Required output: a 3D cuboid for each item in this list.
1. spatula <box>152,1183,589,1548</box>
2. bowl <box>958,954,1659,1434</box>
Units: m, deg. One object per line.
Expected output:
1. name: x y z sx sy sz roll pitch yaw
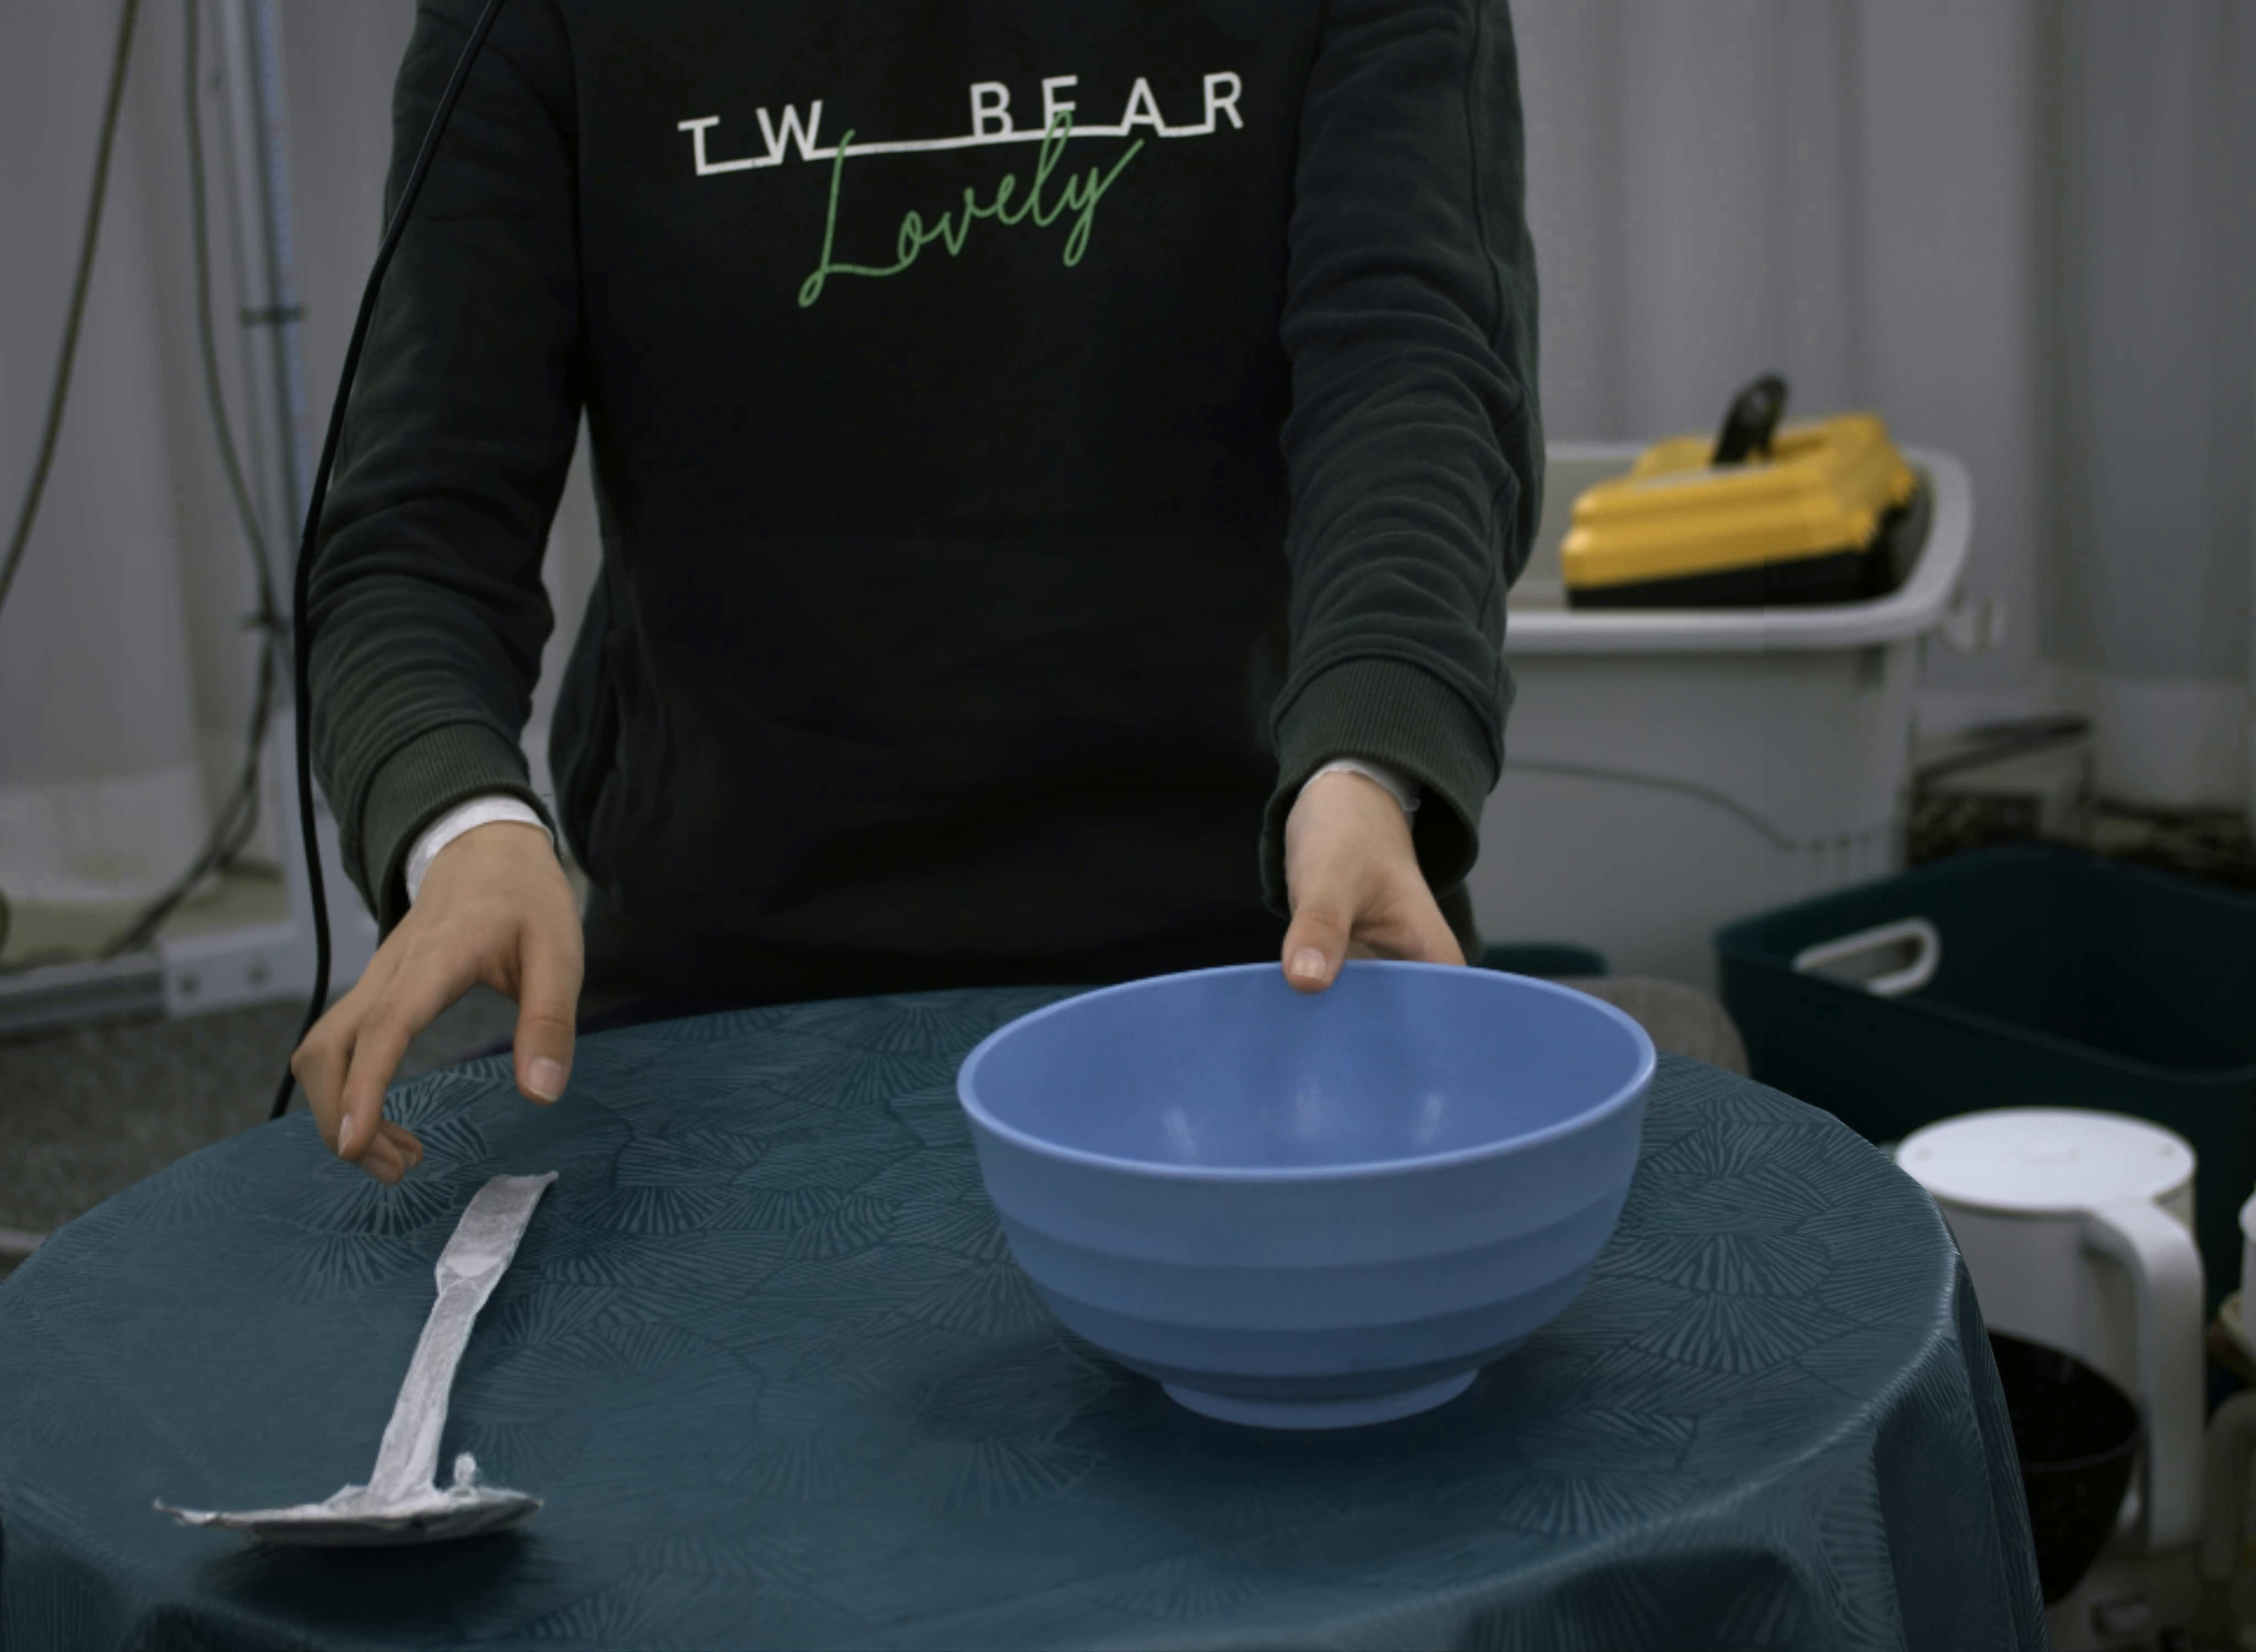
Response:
1. spatula: -0.193 0.145 1.562 0.098 0.044 0.367 -4 15 4
2. bowl: 0.052 0.110 1.539 0.196 0.095 0.198 -3 16 1
